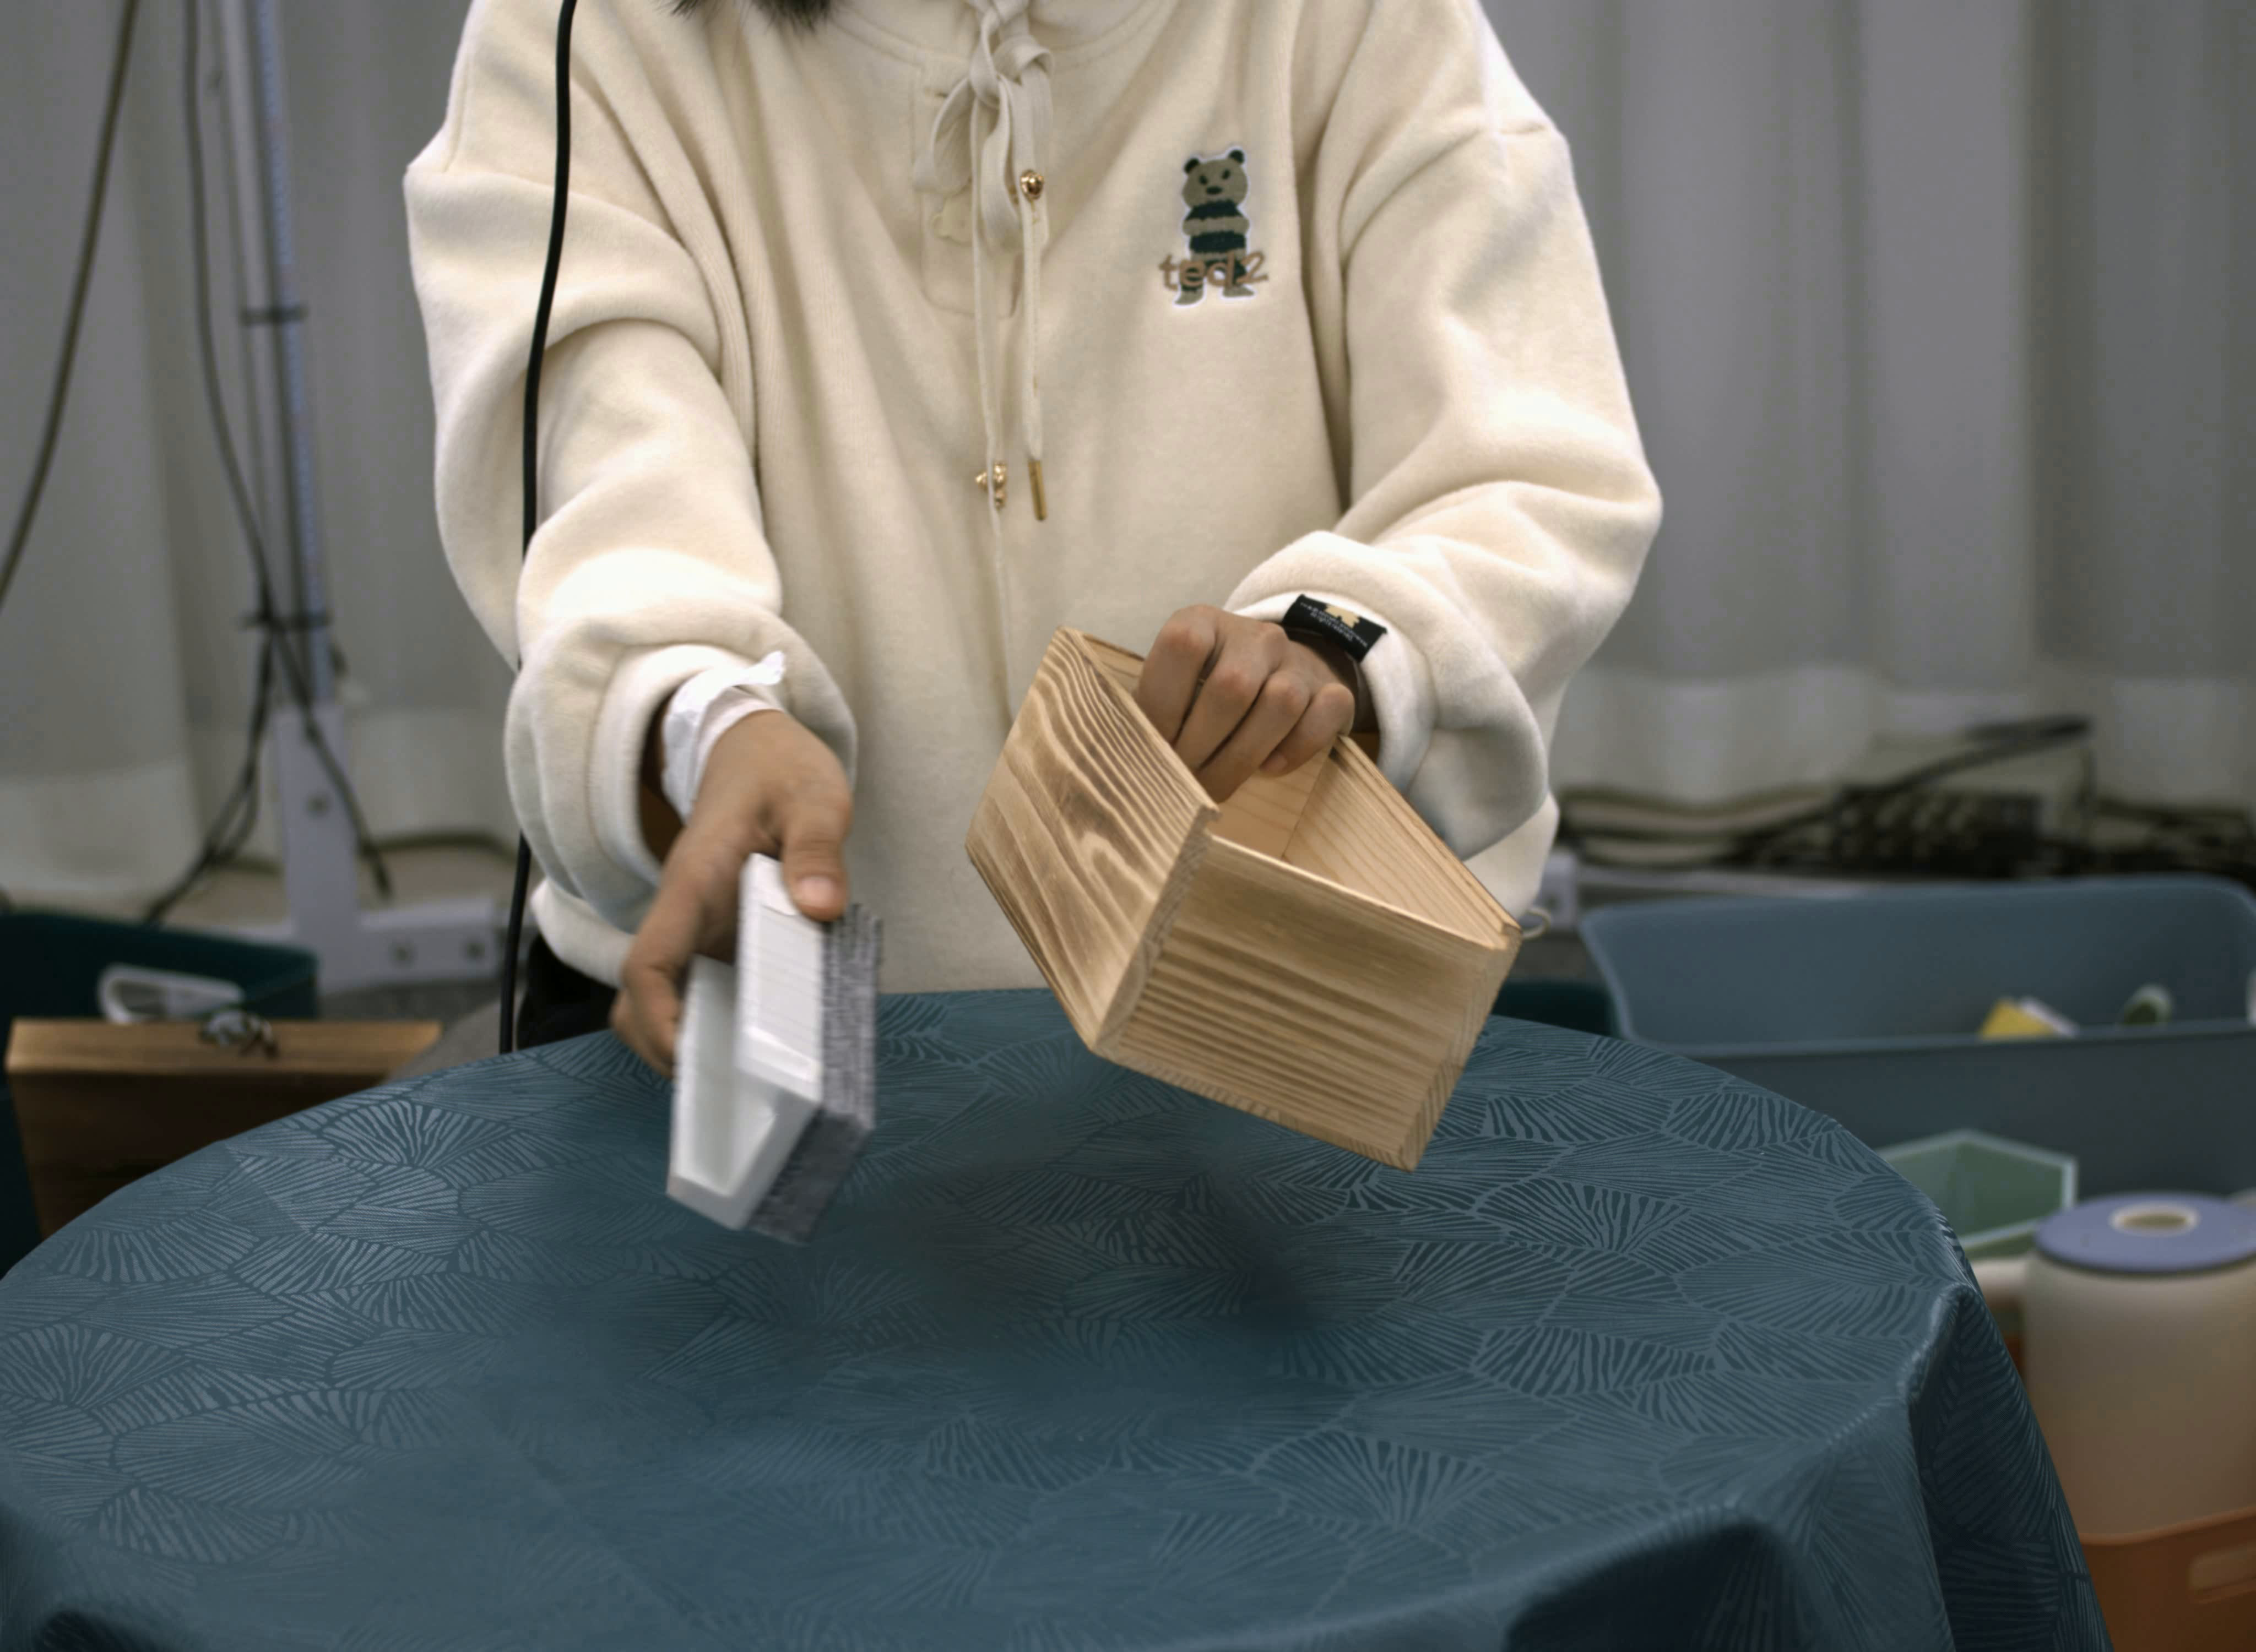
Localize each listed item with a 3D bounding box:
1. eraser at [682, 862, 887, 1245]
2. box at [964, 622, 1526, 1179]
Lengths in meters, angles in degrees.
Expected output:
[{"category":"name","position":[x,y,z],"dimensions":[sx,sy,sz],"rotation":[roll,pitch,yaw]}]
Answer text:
[{"category":"eraser","position":[-0.101,0.066,1.606],"dimensions":[0.046,0.049,0.136],"rotation":[24,20,-16]},{"category":"box","position":[0.031,0.019,1.650],"dimensions":[0.107,0.080,0.213],"rotation":[22,11,-18]}]
